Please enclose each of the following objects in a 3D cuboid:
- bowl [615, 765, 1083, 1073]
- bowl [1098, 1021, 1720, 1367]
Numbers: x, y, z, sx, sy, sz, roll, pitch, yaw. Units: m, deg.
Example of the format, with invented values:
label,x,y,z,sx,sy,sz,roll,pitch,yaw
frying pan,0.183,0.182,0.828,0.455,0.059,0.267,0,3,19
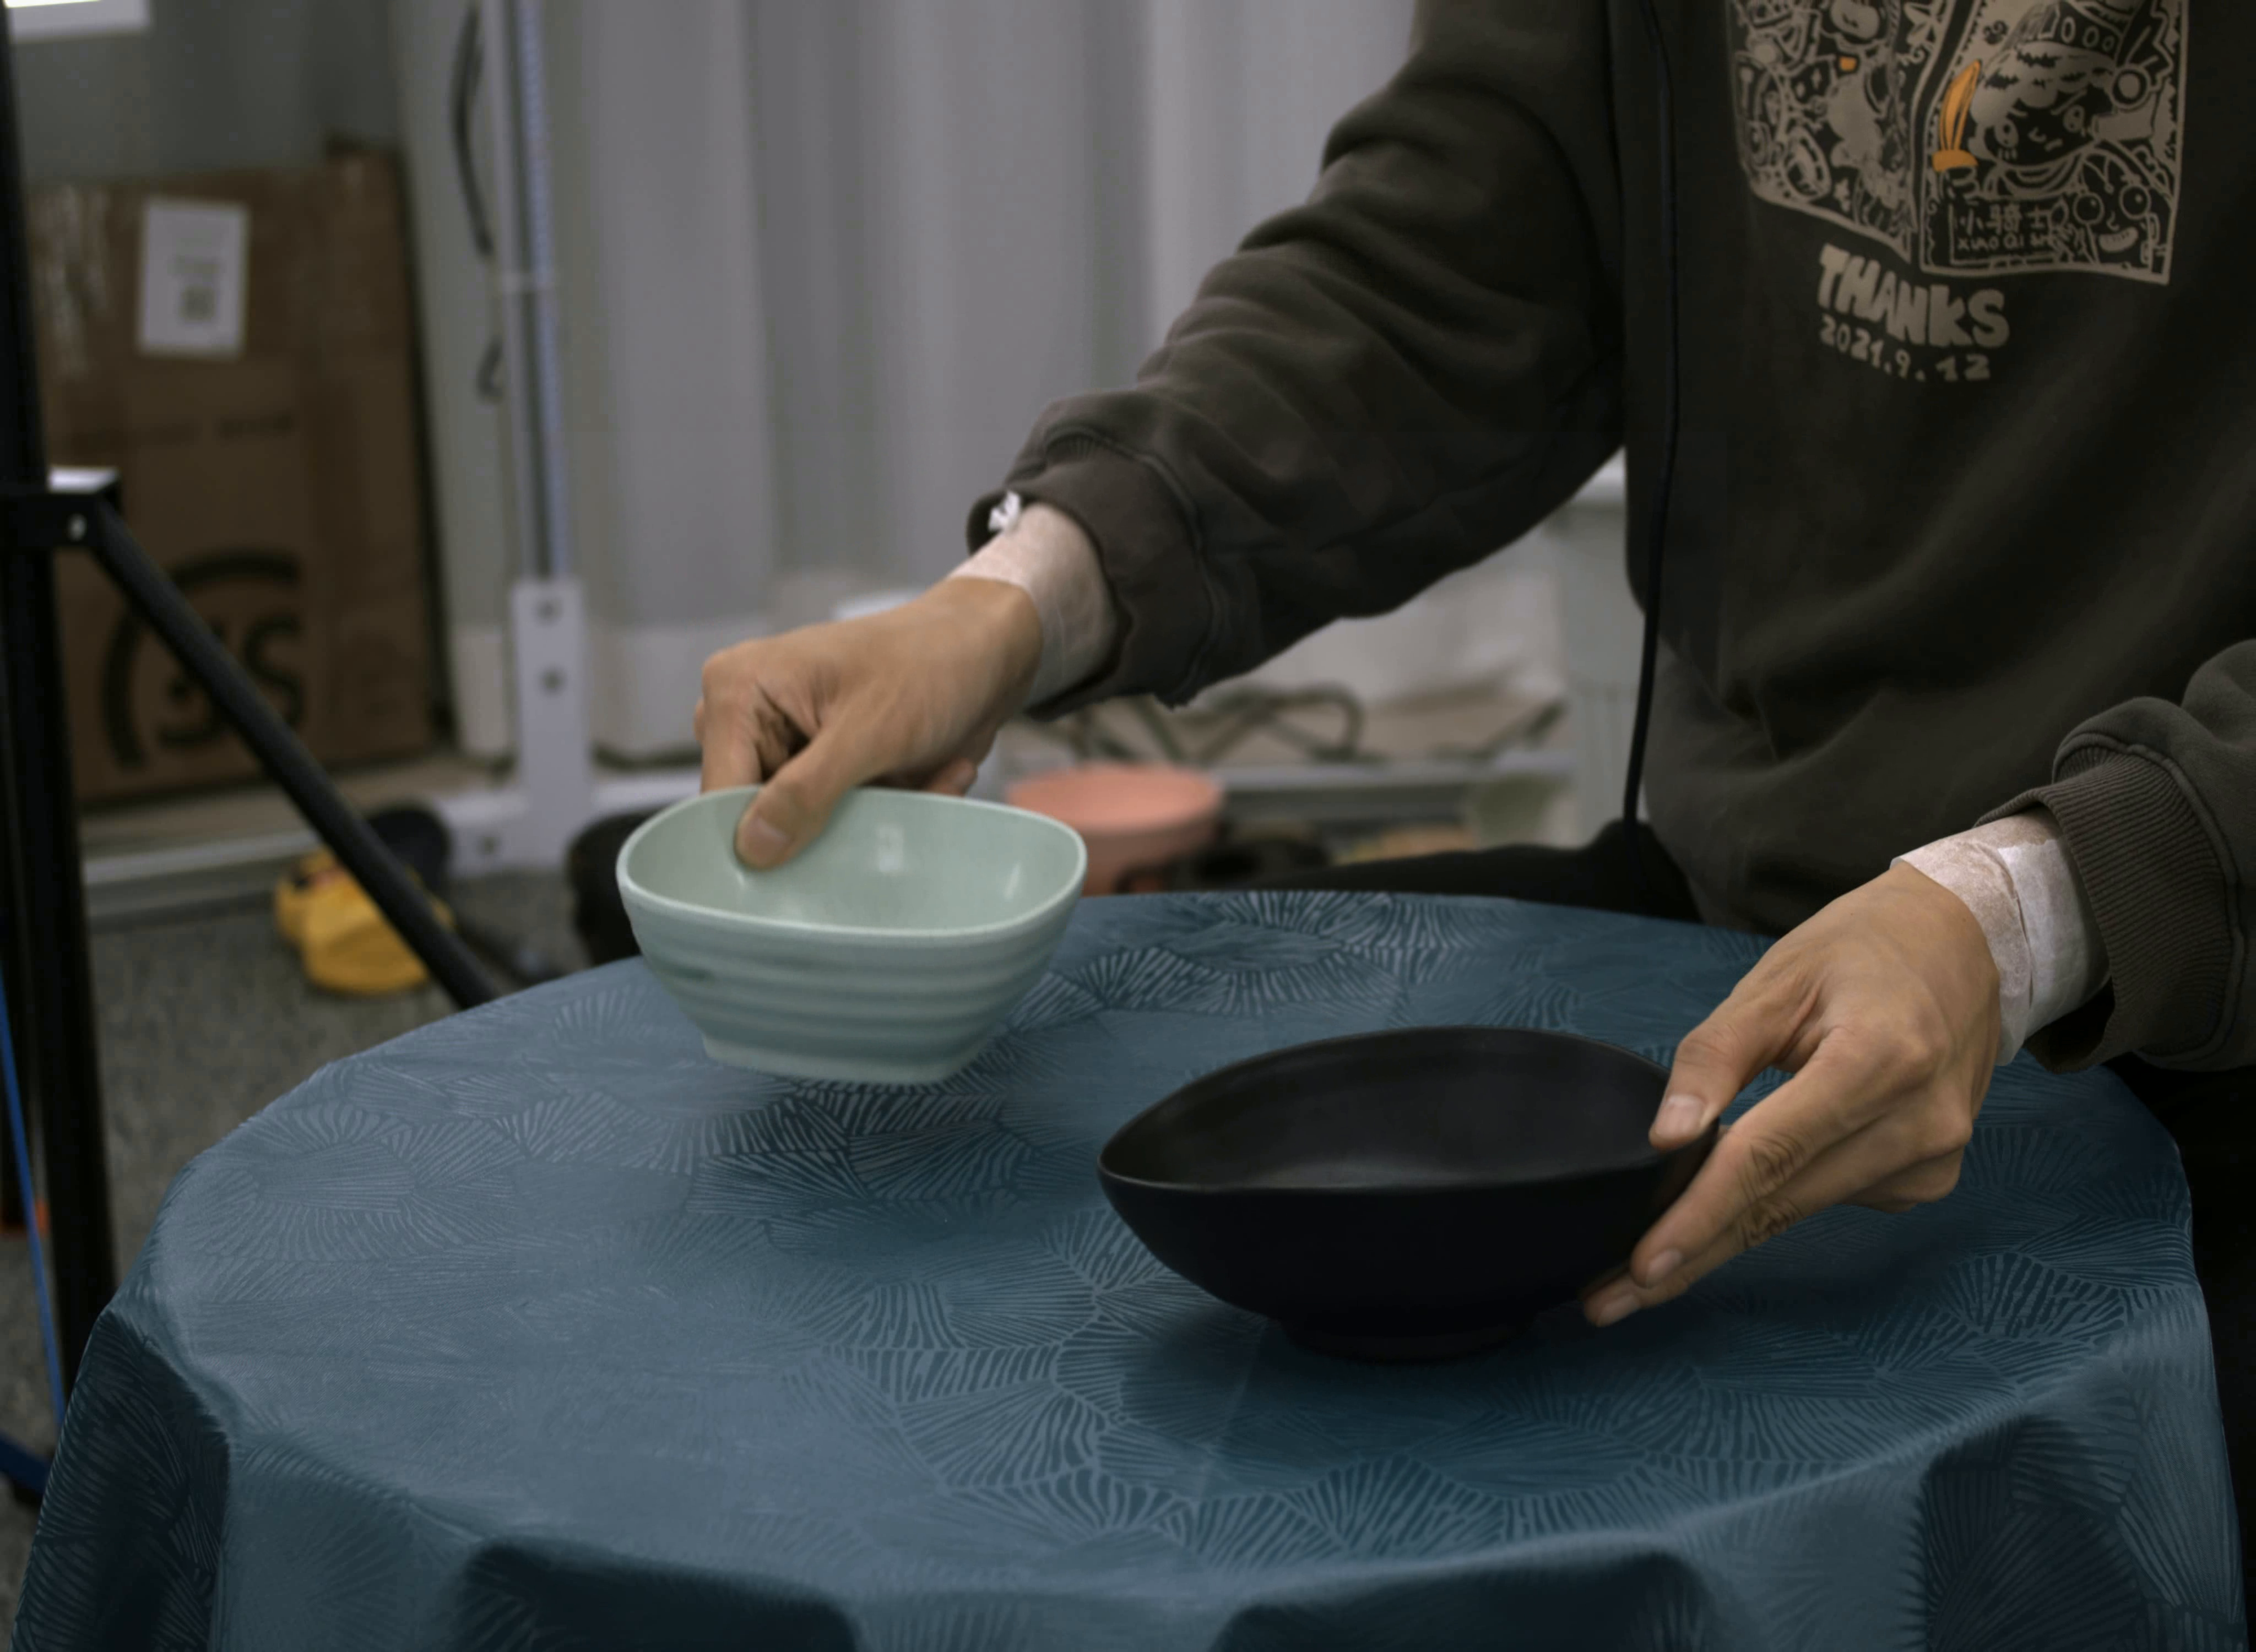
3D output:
label,x,y,z,sx,sy,sz,roll,pitch,yaw
bowl,-0.085,0.032,1.618,0.150,0.058,0.152,1,20,-2
bowl,0.077,0.106,1.439,0.170,0.066,0.137,-3,15,7
